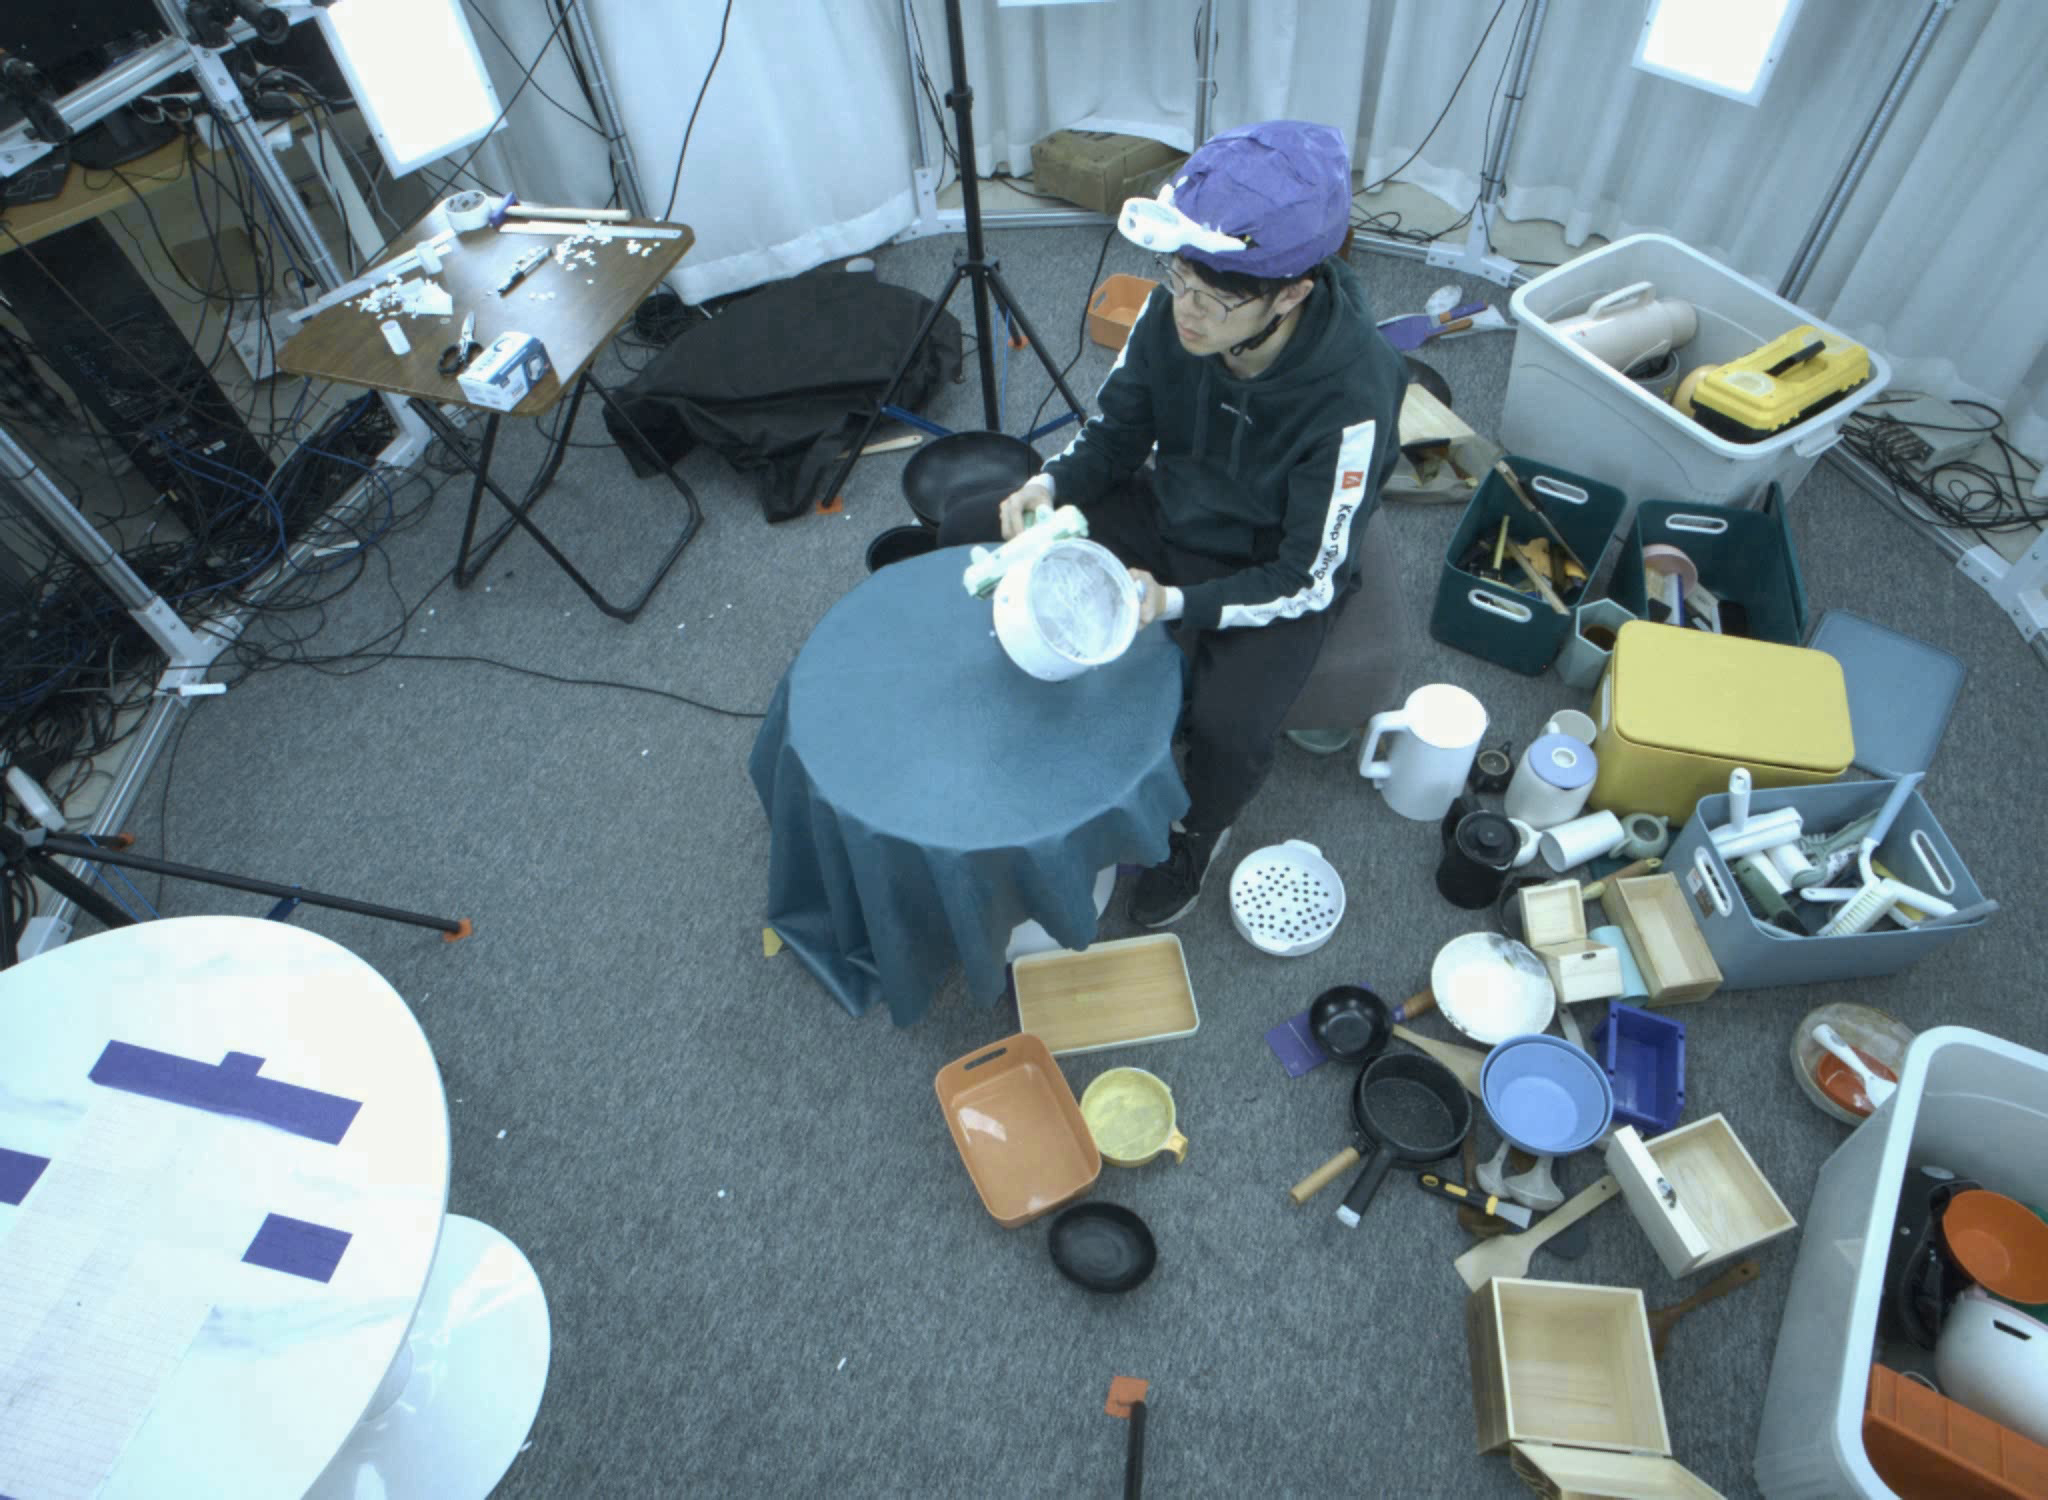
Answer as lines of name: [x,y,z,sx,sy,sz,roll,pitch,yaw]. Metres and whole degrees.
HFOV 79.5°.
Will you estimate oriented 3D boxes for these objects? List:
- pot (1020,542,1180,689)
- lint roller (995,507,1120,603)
pot: [0.117,-0.189,1.708,0.237,0.134,0.178,-16,90,-30]
lint roller: [0.042,-0.321,1.807,0.197,0.084,0.181,-29,37,23]
